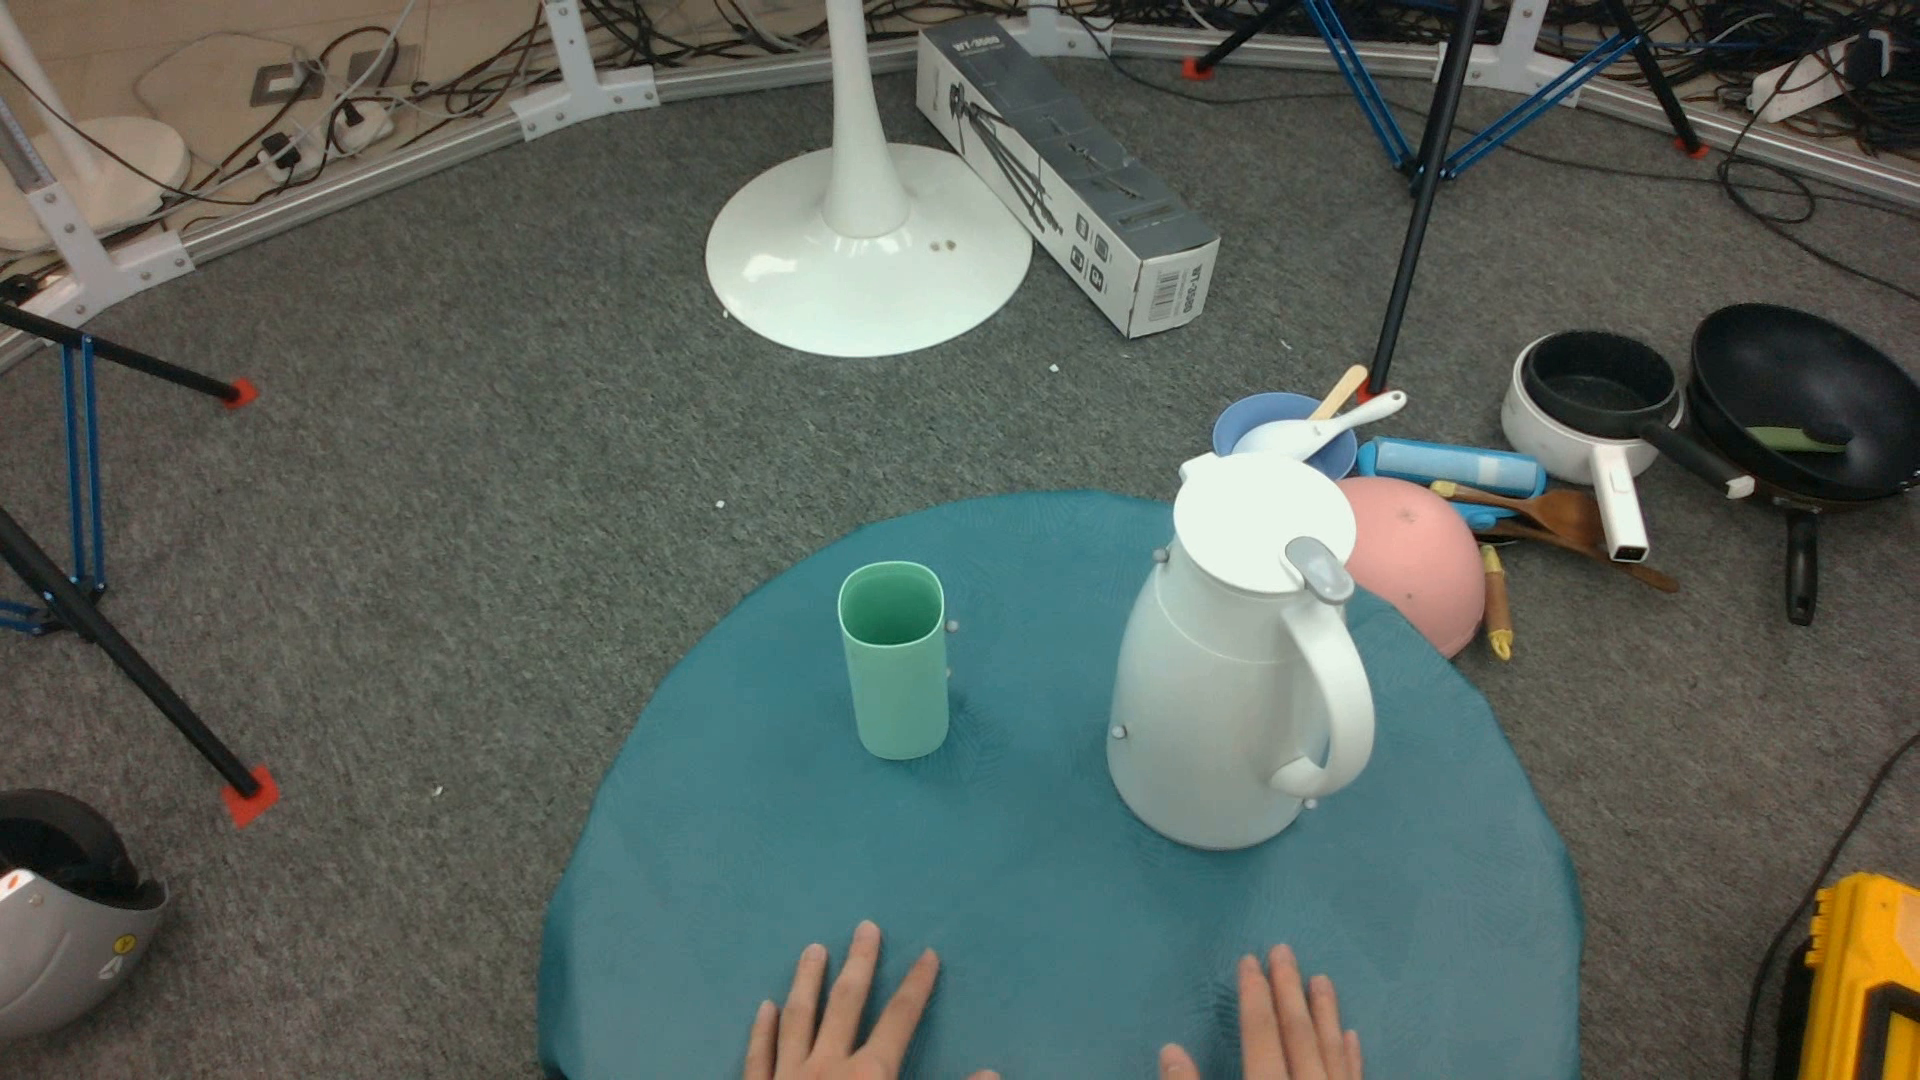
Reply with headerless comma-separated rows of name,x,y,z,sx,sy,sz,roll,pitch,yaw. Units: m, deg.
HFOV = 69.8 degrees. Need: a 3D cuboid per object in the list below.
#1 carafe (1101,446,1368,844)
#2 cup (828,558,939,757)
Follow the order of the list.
carafe,0.163,0.071,0.779,0.133,0.247,0.168,-23,55,-17
cup,-0.045,0.077,0.856,0.067,0.131,0.067,-1,51,1
